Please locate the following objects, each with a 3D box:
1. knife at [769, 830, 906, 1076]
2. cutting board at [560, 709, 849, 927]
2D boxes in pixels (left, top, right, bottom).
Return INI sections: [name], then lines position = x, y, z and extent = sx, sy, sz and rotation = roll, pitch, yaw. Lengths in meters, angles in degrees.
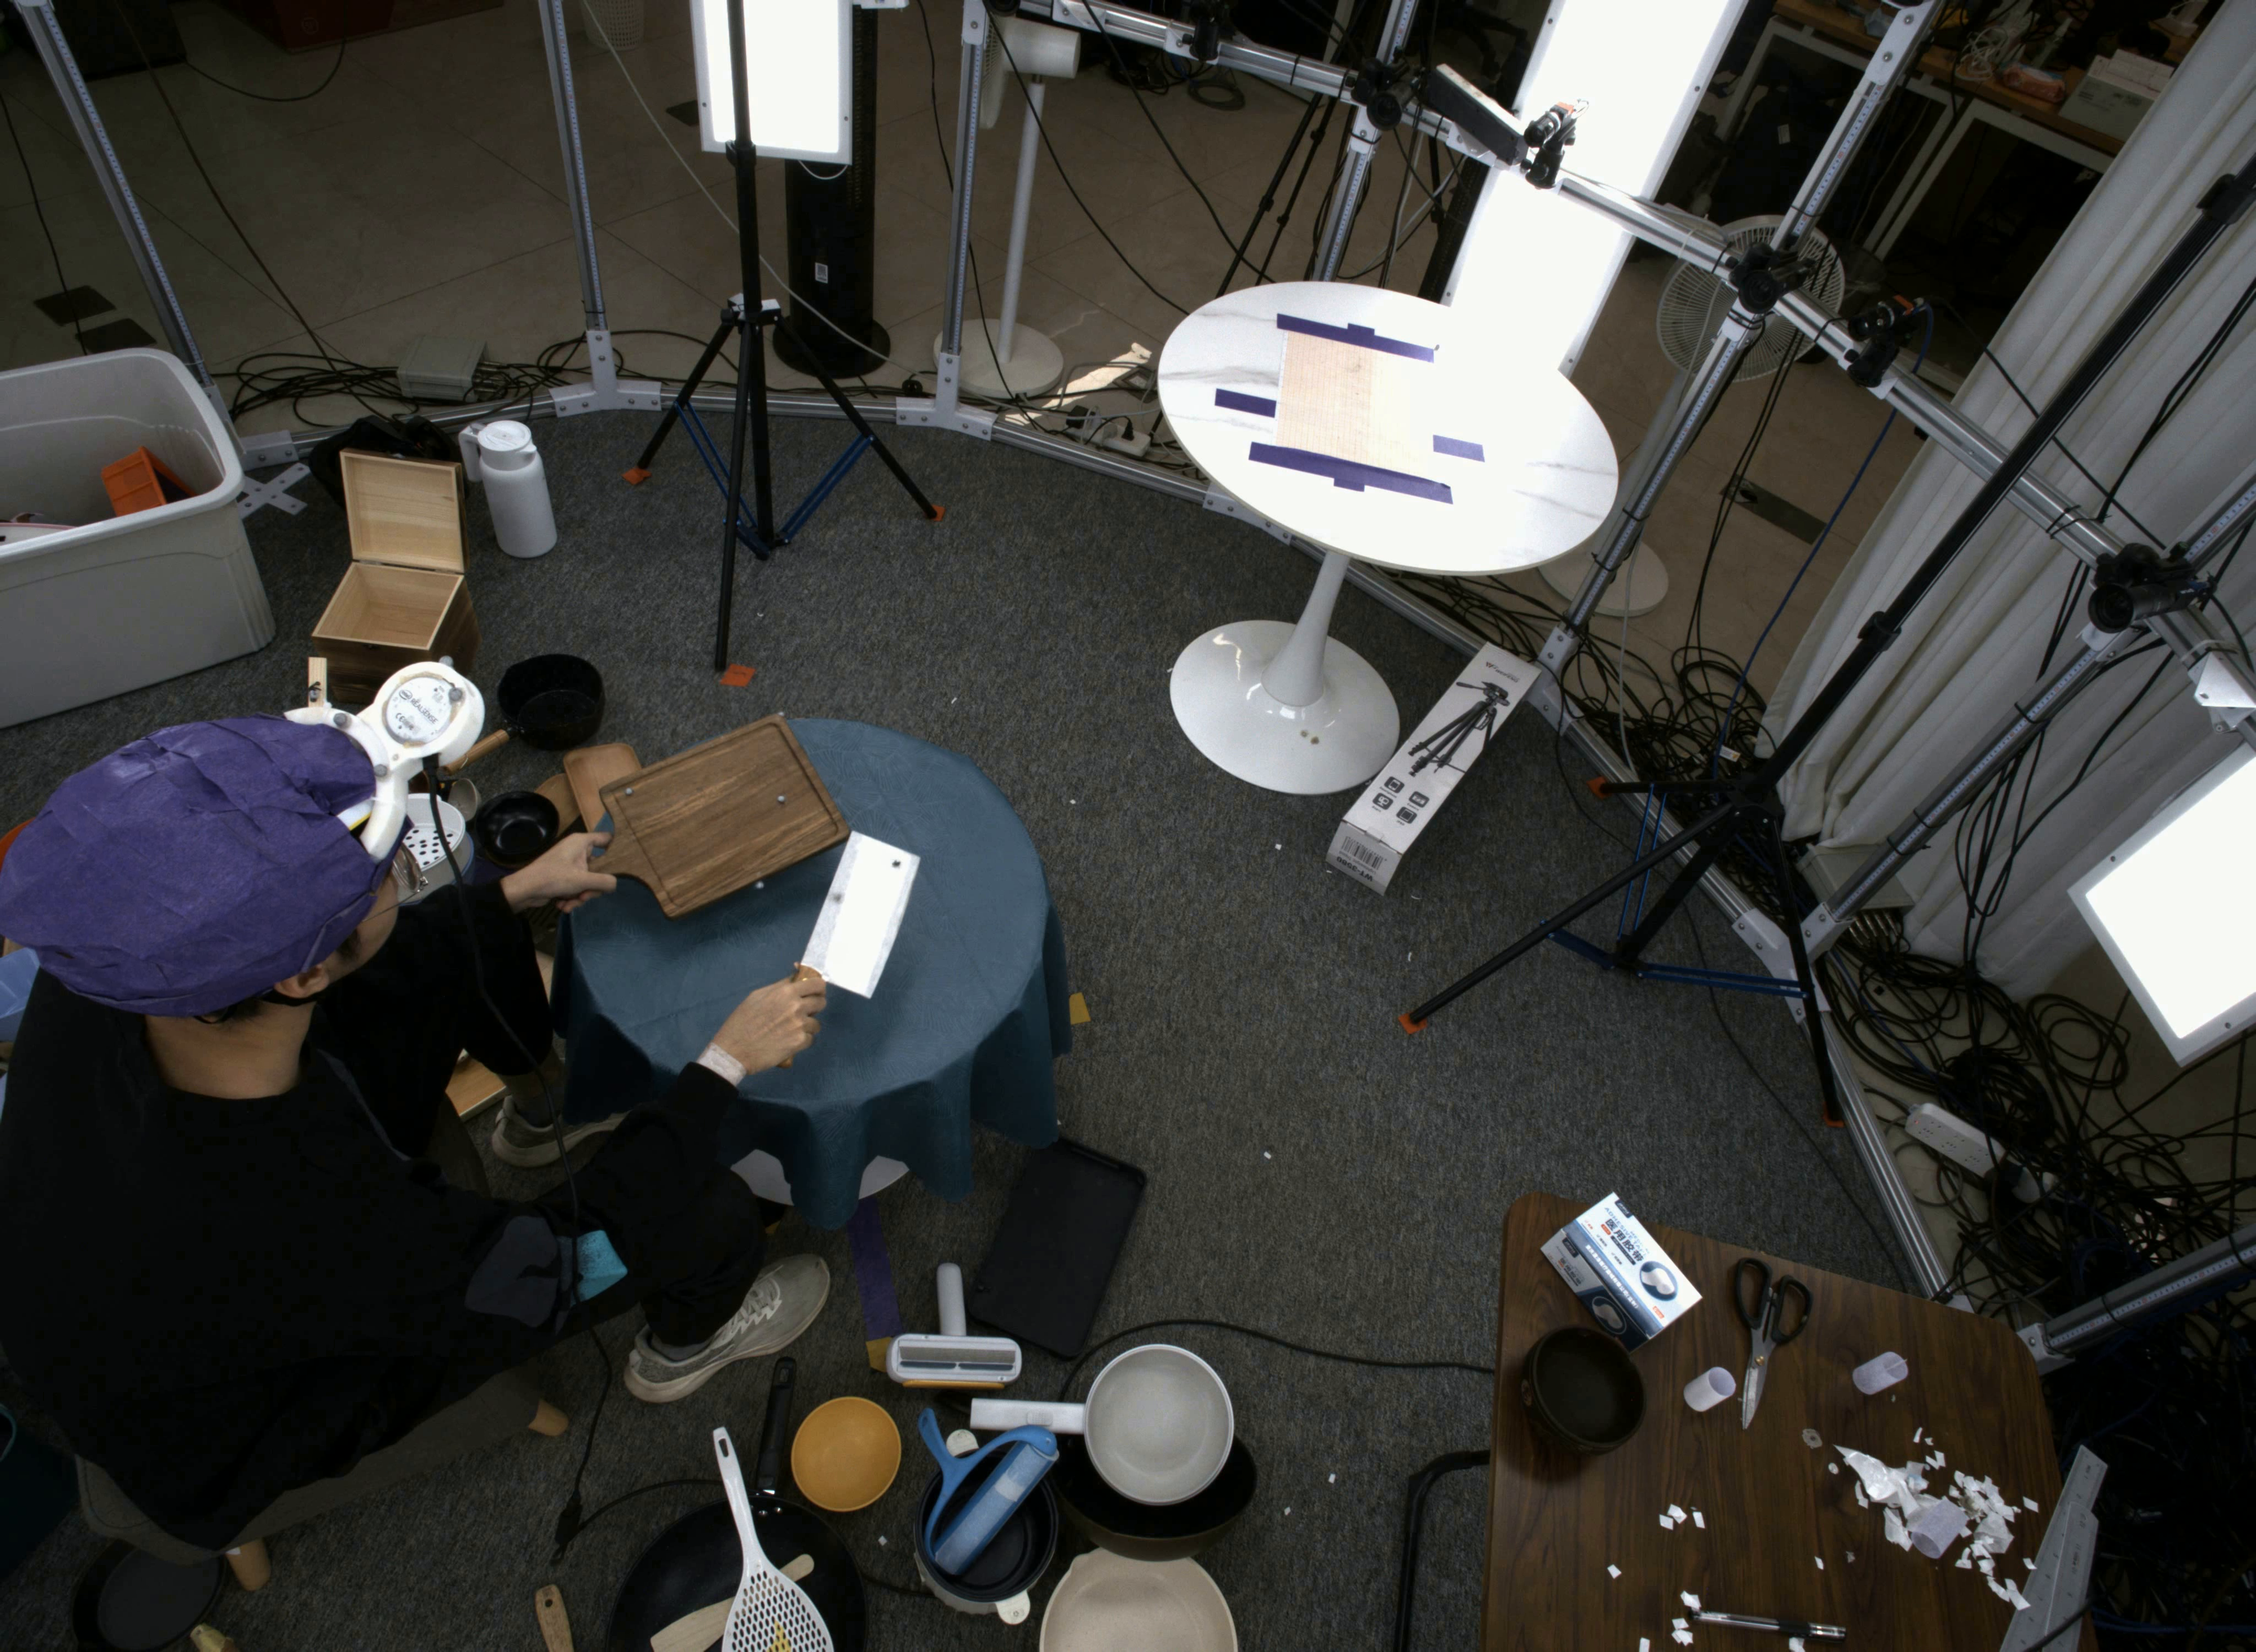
[knife]
position = -0.325, 0.145, 1.489
extent = 0.094, 0.021, 0.303
rotation = 22, 62, -16
[cutting board]
position = -0.539, 0.004, 1.576
extent = 0.353, 0.023, 0.200
rotation = -28, 81, -27
